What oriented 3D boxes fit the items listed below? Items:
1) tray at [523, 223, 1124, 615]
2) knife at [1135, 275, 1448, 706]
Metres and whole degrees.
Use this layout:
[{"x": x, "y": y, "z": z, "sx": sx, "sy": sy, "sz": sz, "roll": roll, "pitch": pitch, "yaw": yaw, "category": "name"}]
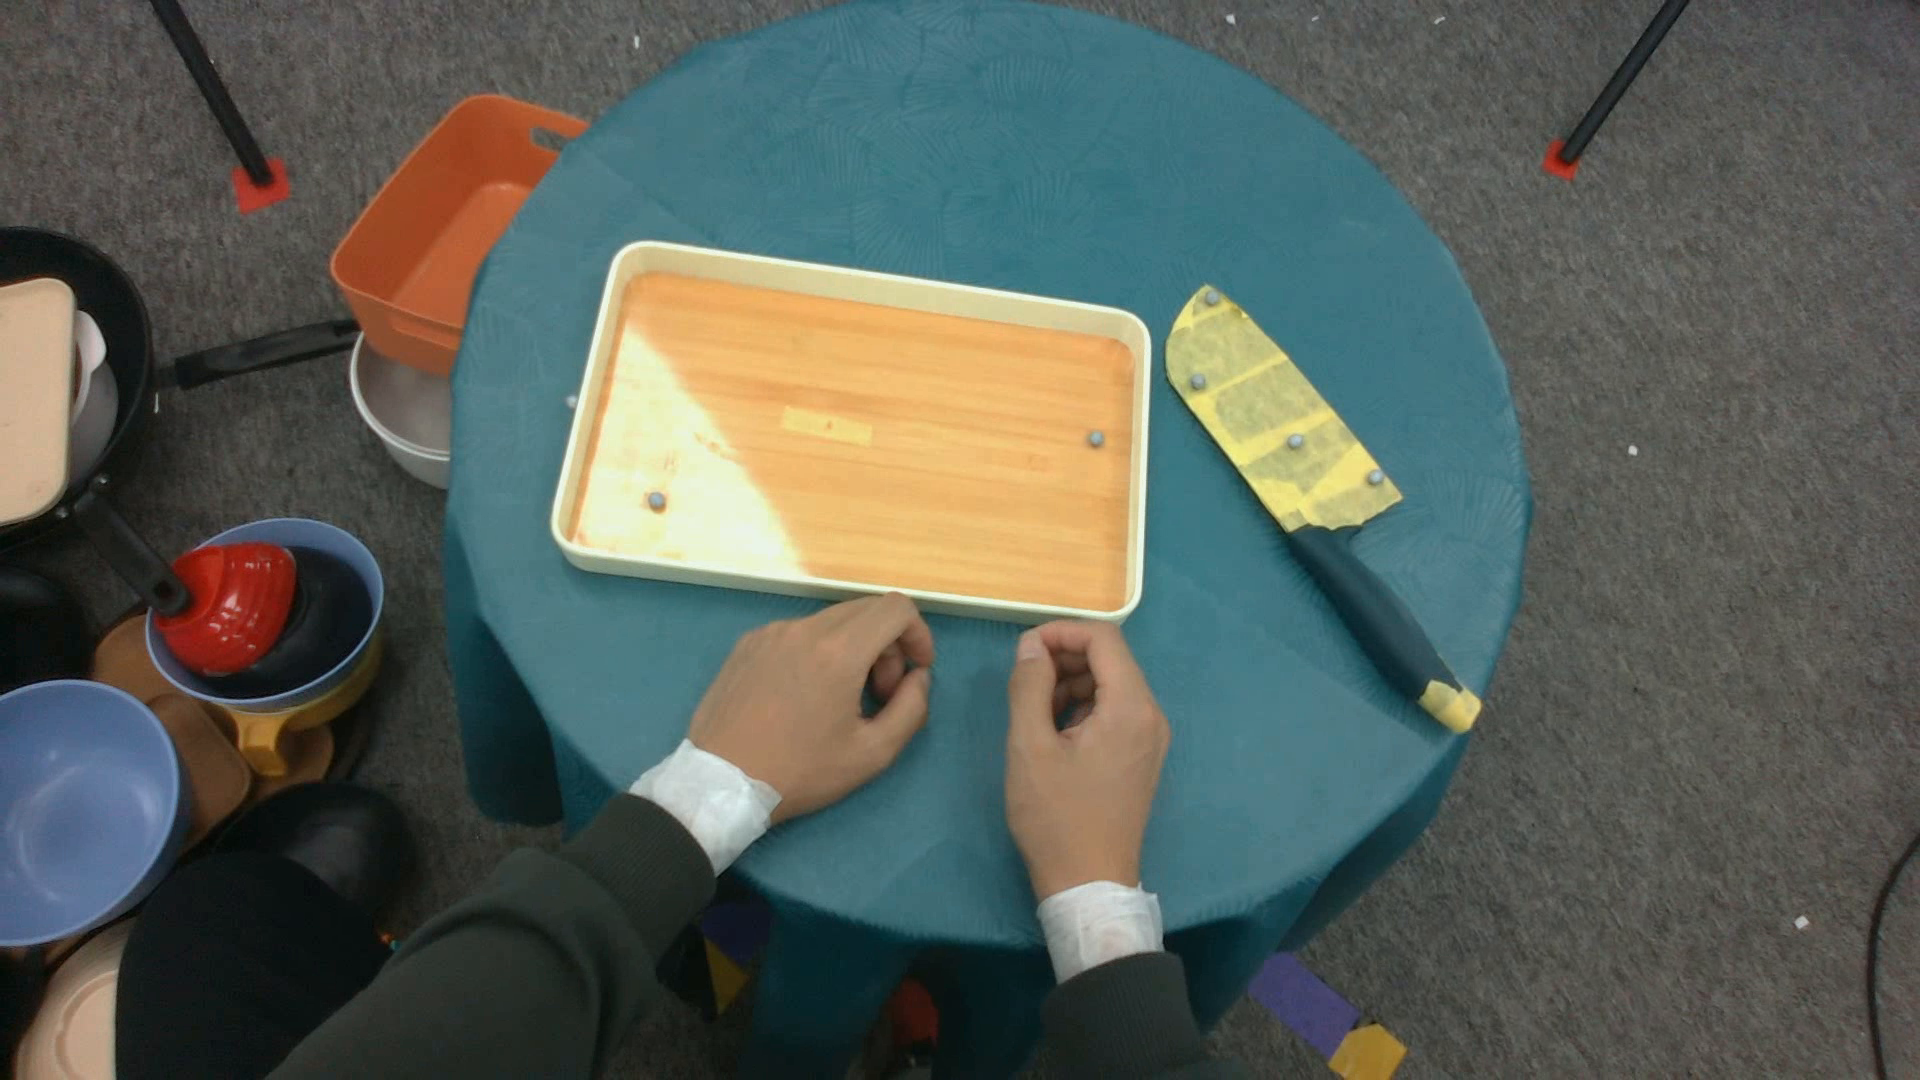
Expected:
[{"x": -0.063, "y": -0.066, "z": 0.734, "sx": 0.300, "sy": 0.027, "sz": 0.192, "roll": 7, "pitch": 66, "yaw": -5, "category": "tray"}, {"x": 0.186, "y": -0.038, "z": 0.765, "sx": 0.081, "sy": 0.027, "sz": 0.290, "roll": -25, "pitch": 71, "yaw": -16, "category": "knife"}]
